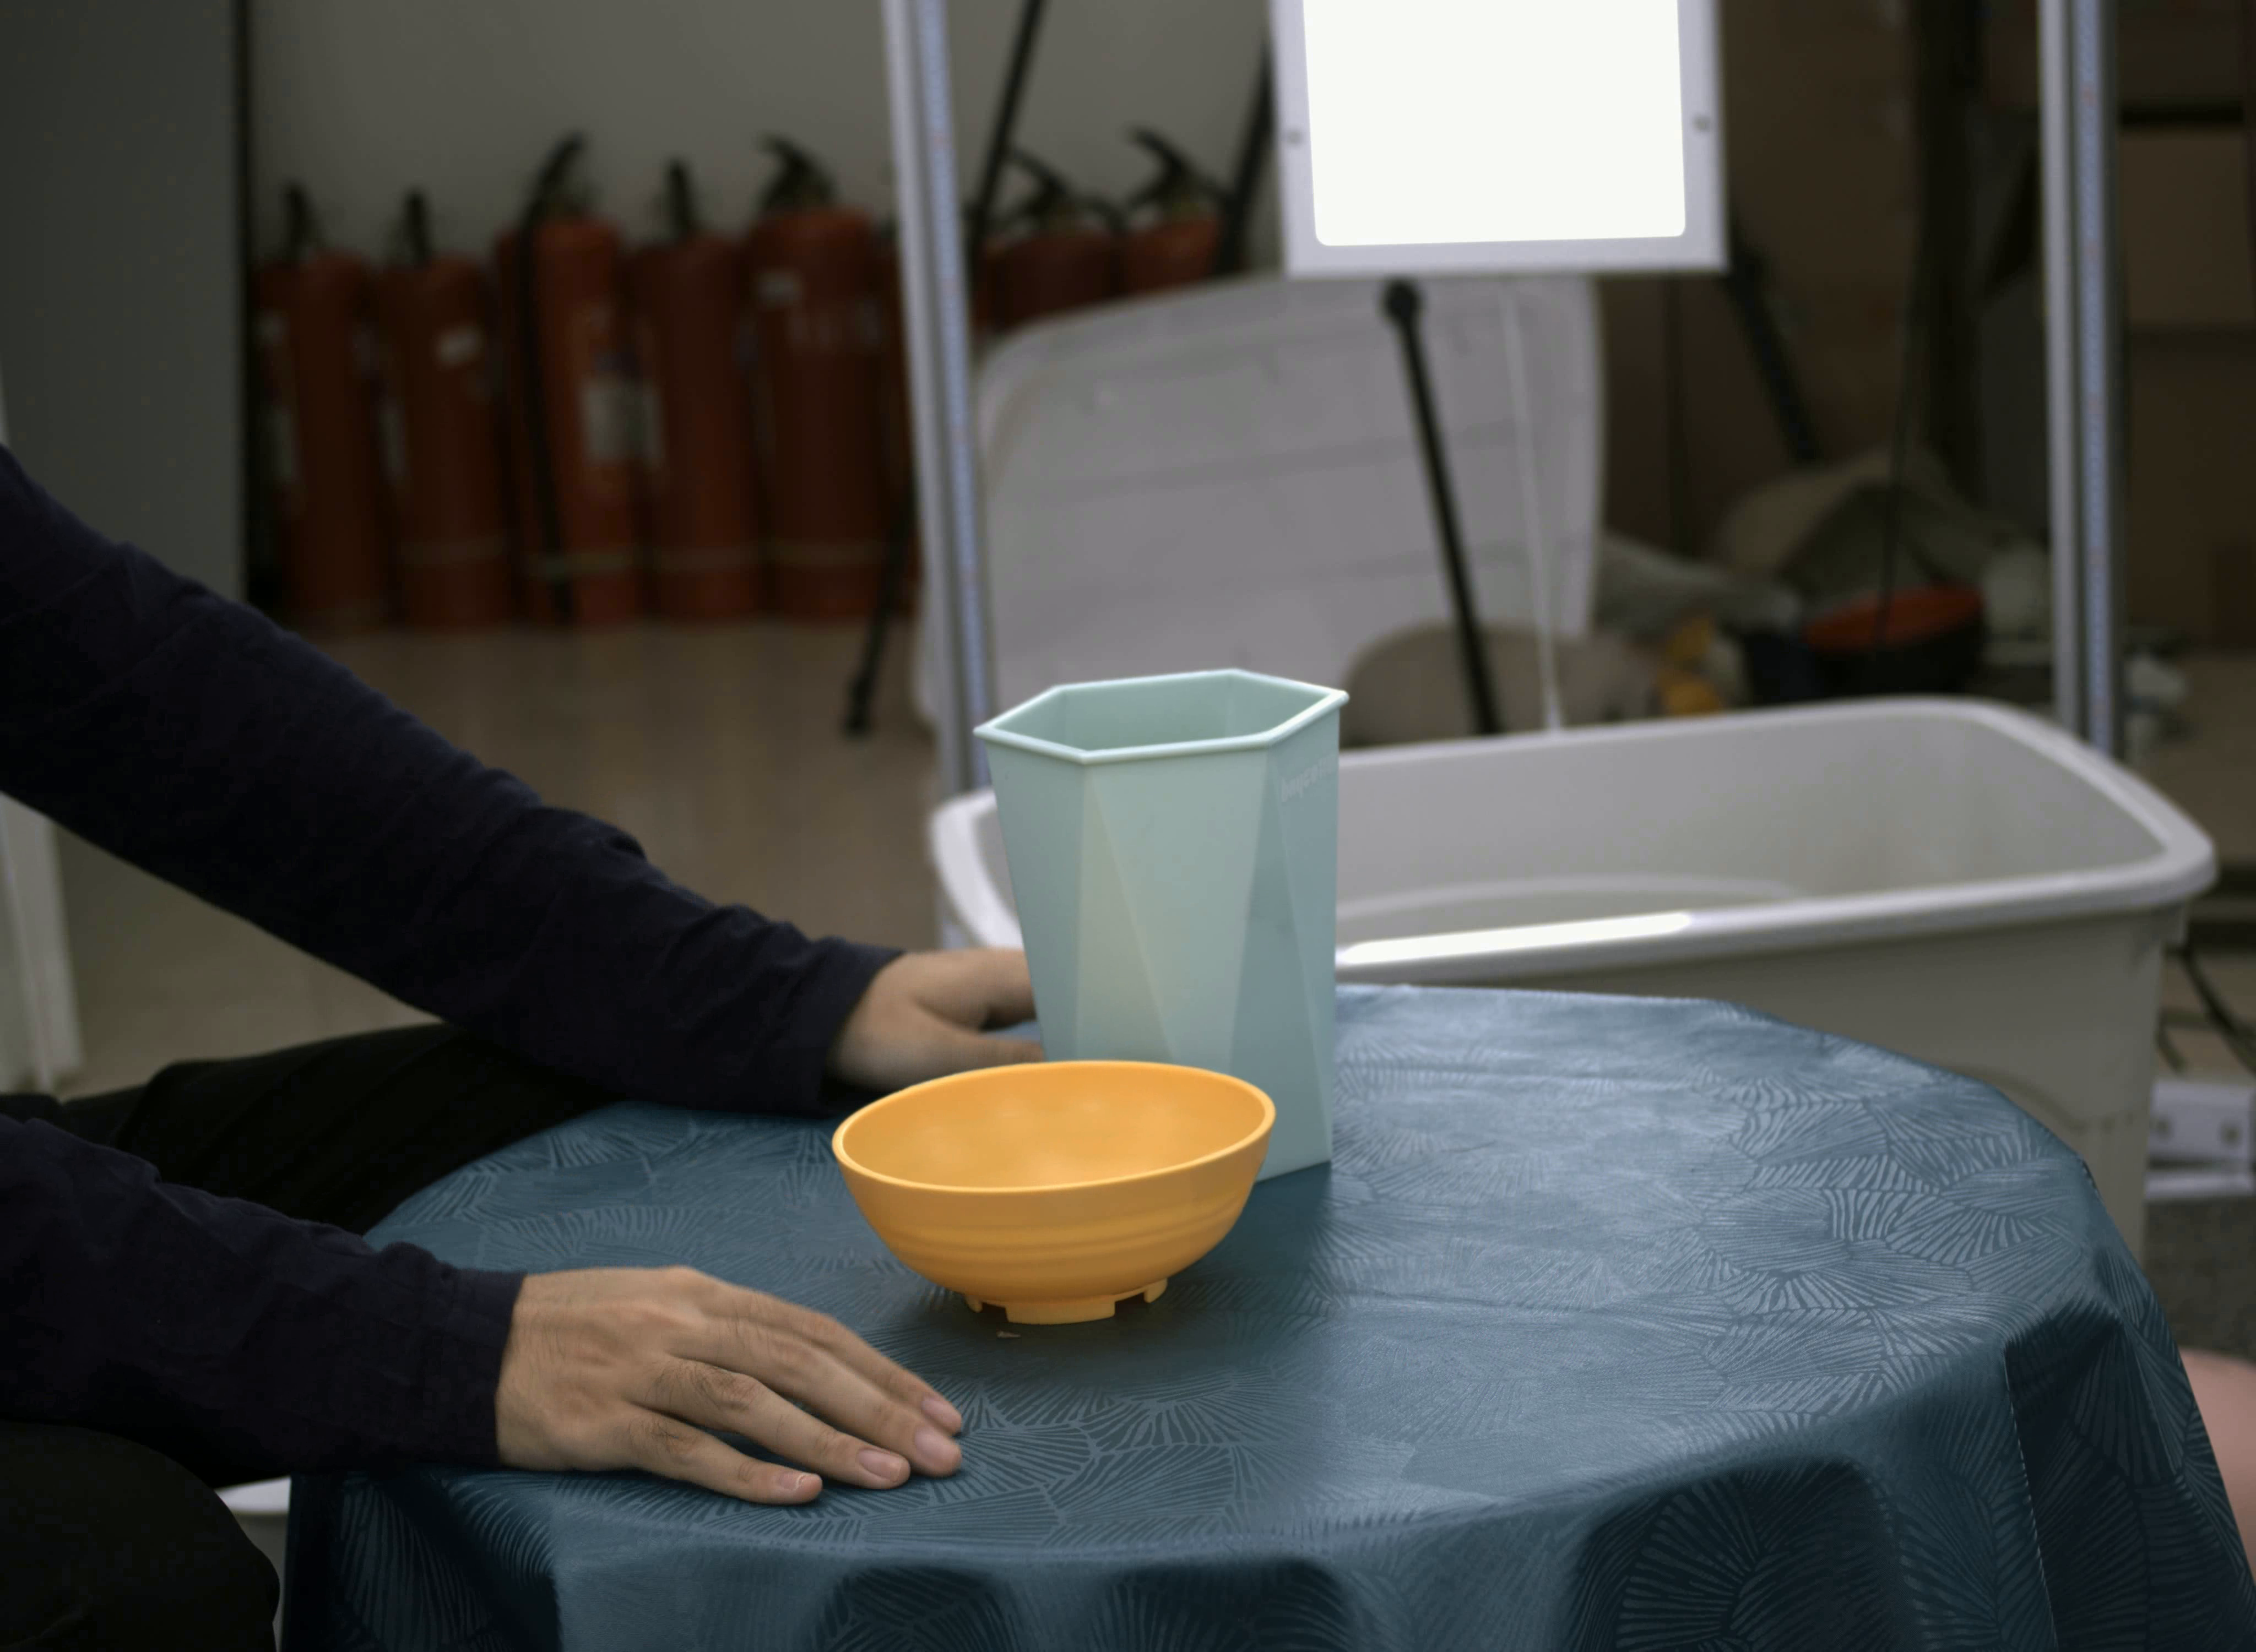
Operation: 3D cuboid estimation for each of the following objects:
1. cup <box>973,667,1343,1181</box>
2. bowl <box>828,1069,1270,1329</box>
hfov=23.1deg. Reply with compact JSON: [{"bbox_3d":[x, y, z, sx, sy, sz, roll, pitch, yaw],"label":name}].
[{"bbox_3d":[0.018,0.036,1.919,0.117,0.163,0.128,0,14,25],"label":"cup"},{"bbox_3d":[-0.023,0.126,1.792,0.145,0.060,0.145,-6,12,0],"label":"bowl"}]
